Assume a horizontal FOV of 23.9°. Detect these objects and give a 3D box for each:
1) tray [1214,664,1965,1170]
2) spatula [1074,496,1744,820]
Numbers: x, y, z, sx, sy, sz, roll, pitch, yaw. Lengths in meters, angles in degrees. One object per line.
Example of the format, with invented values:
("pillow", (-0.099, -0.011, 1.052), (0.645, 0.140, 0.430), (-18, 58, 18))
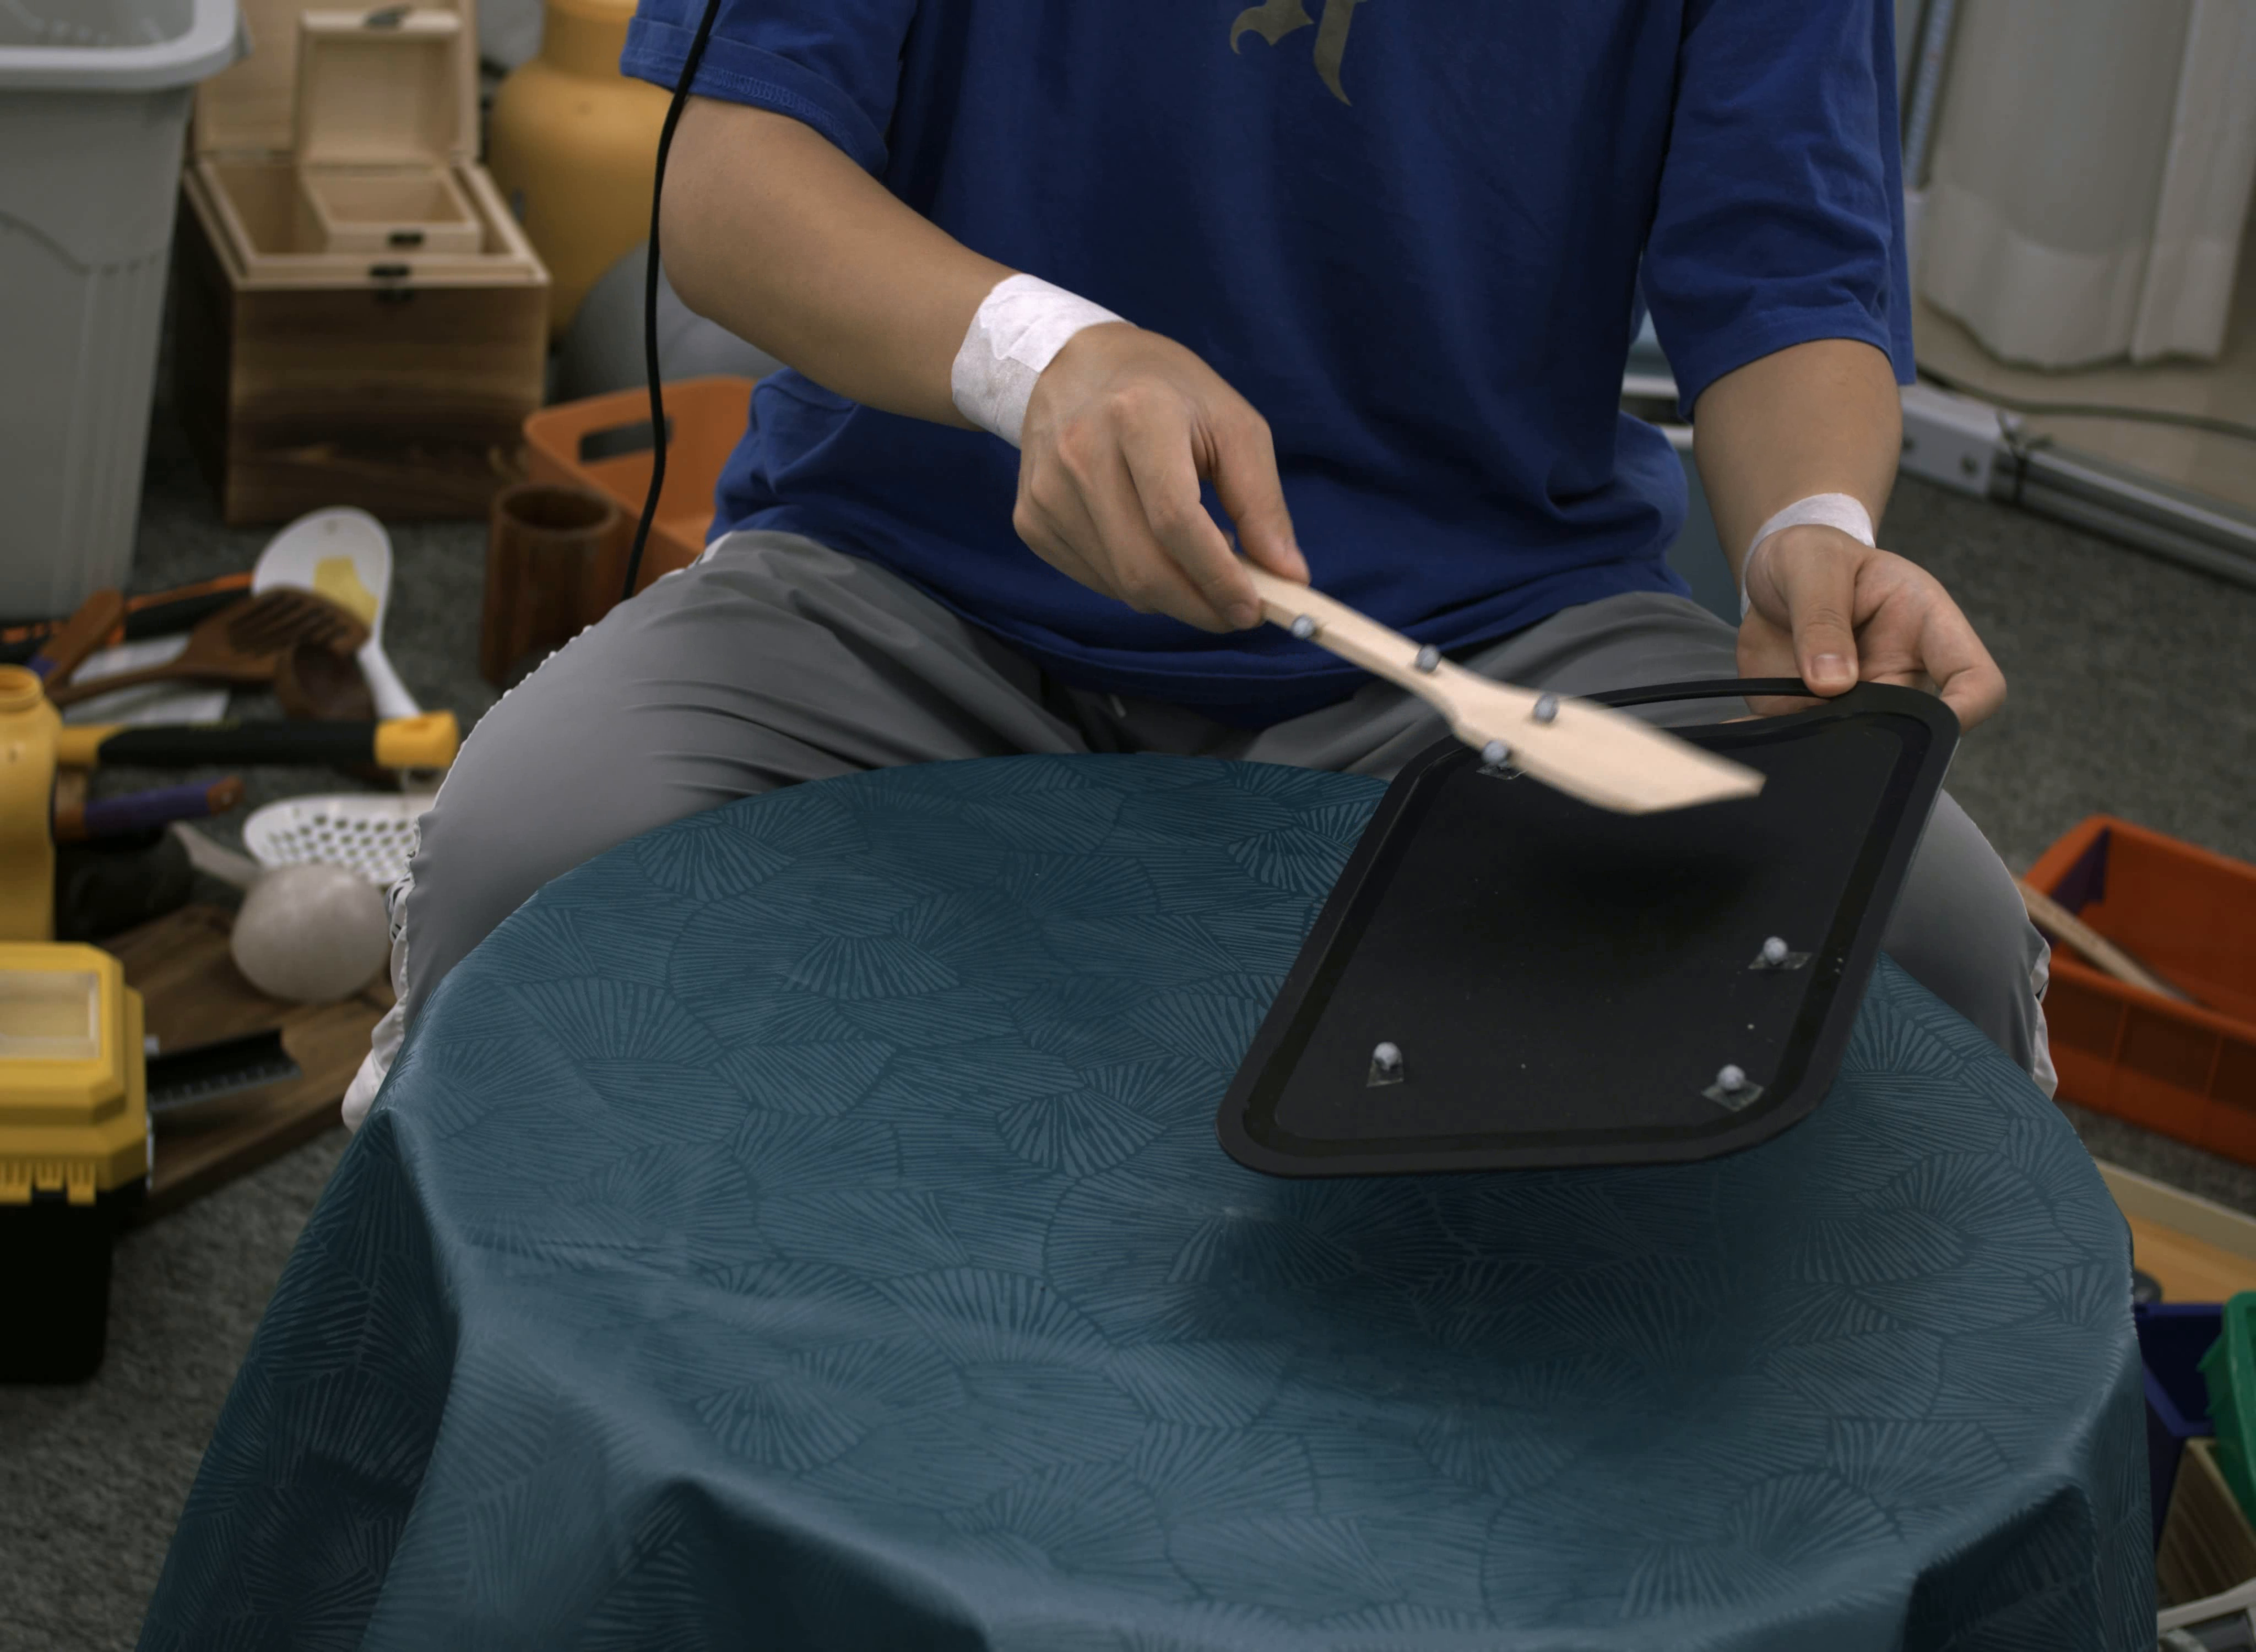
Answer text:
("tray", (0.162, 0.024, 1.806), (0.211, 0.010, 0.326), (-4, 29, 24))
("spatula", (0.086, -0.060, 1.869), (0.295, 0.010, 0.072), (30, 24, 37))
